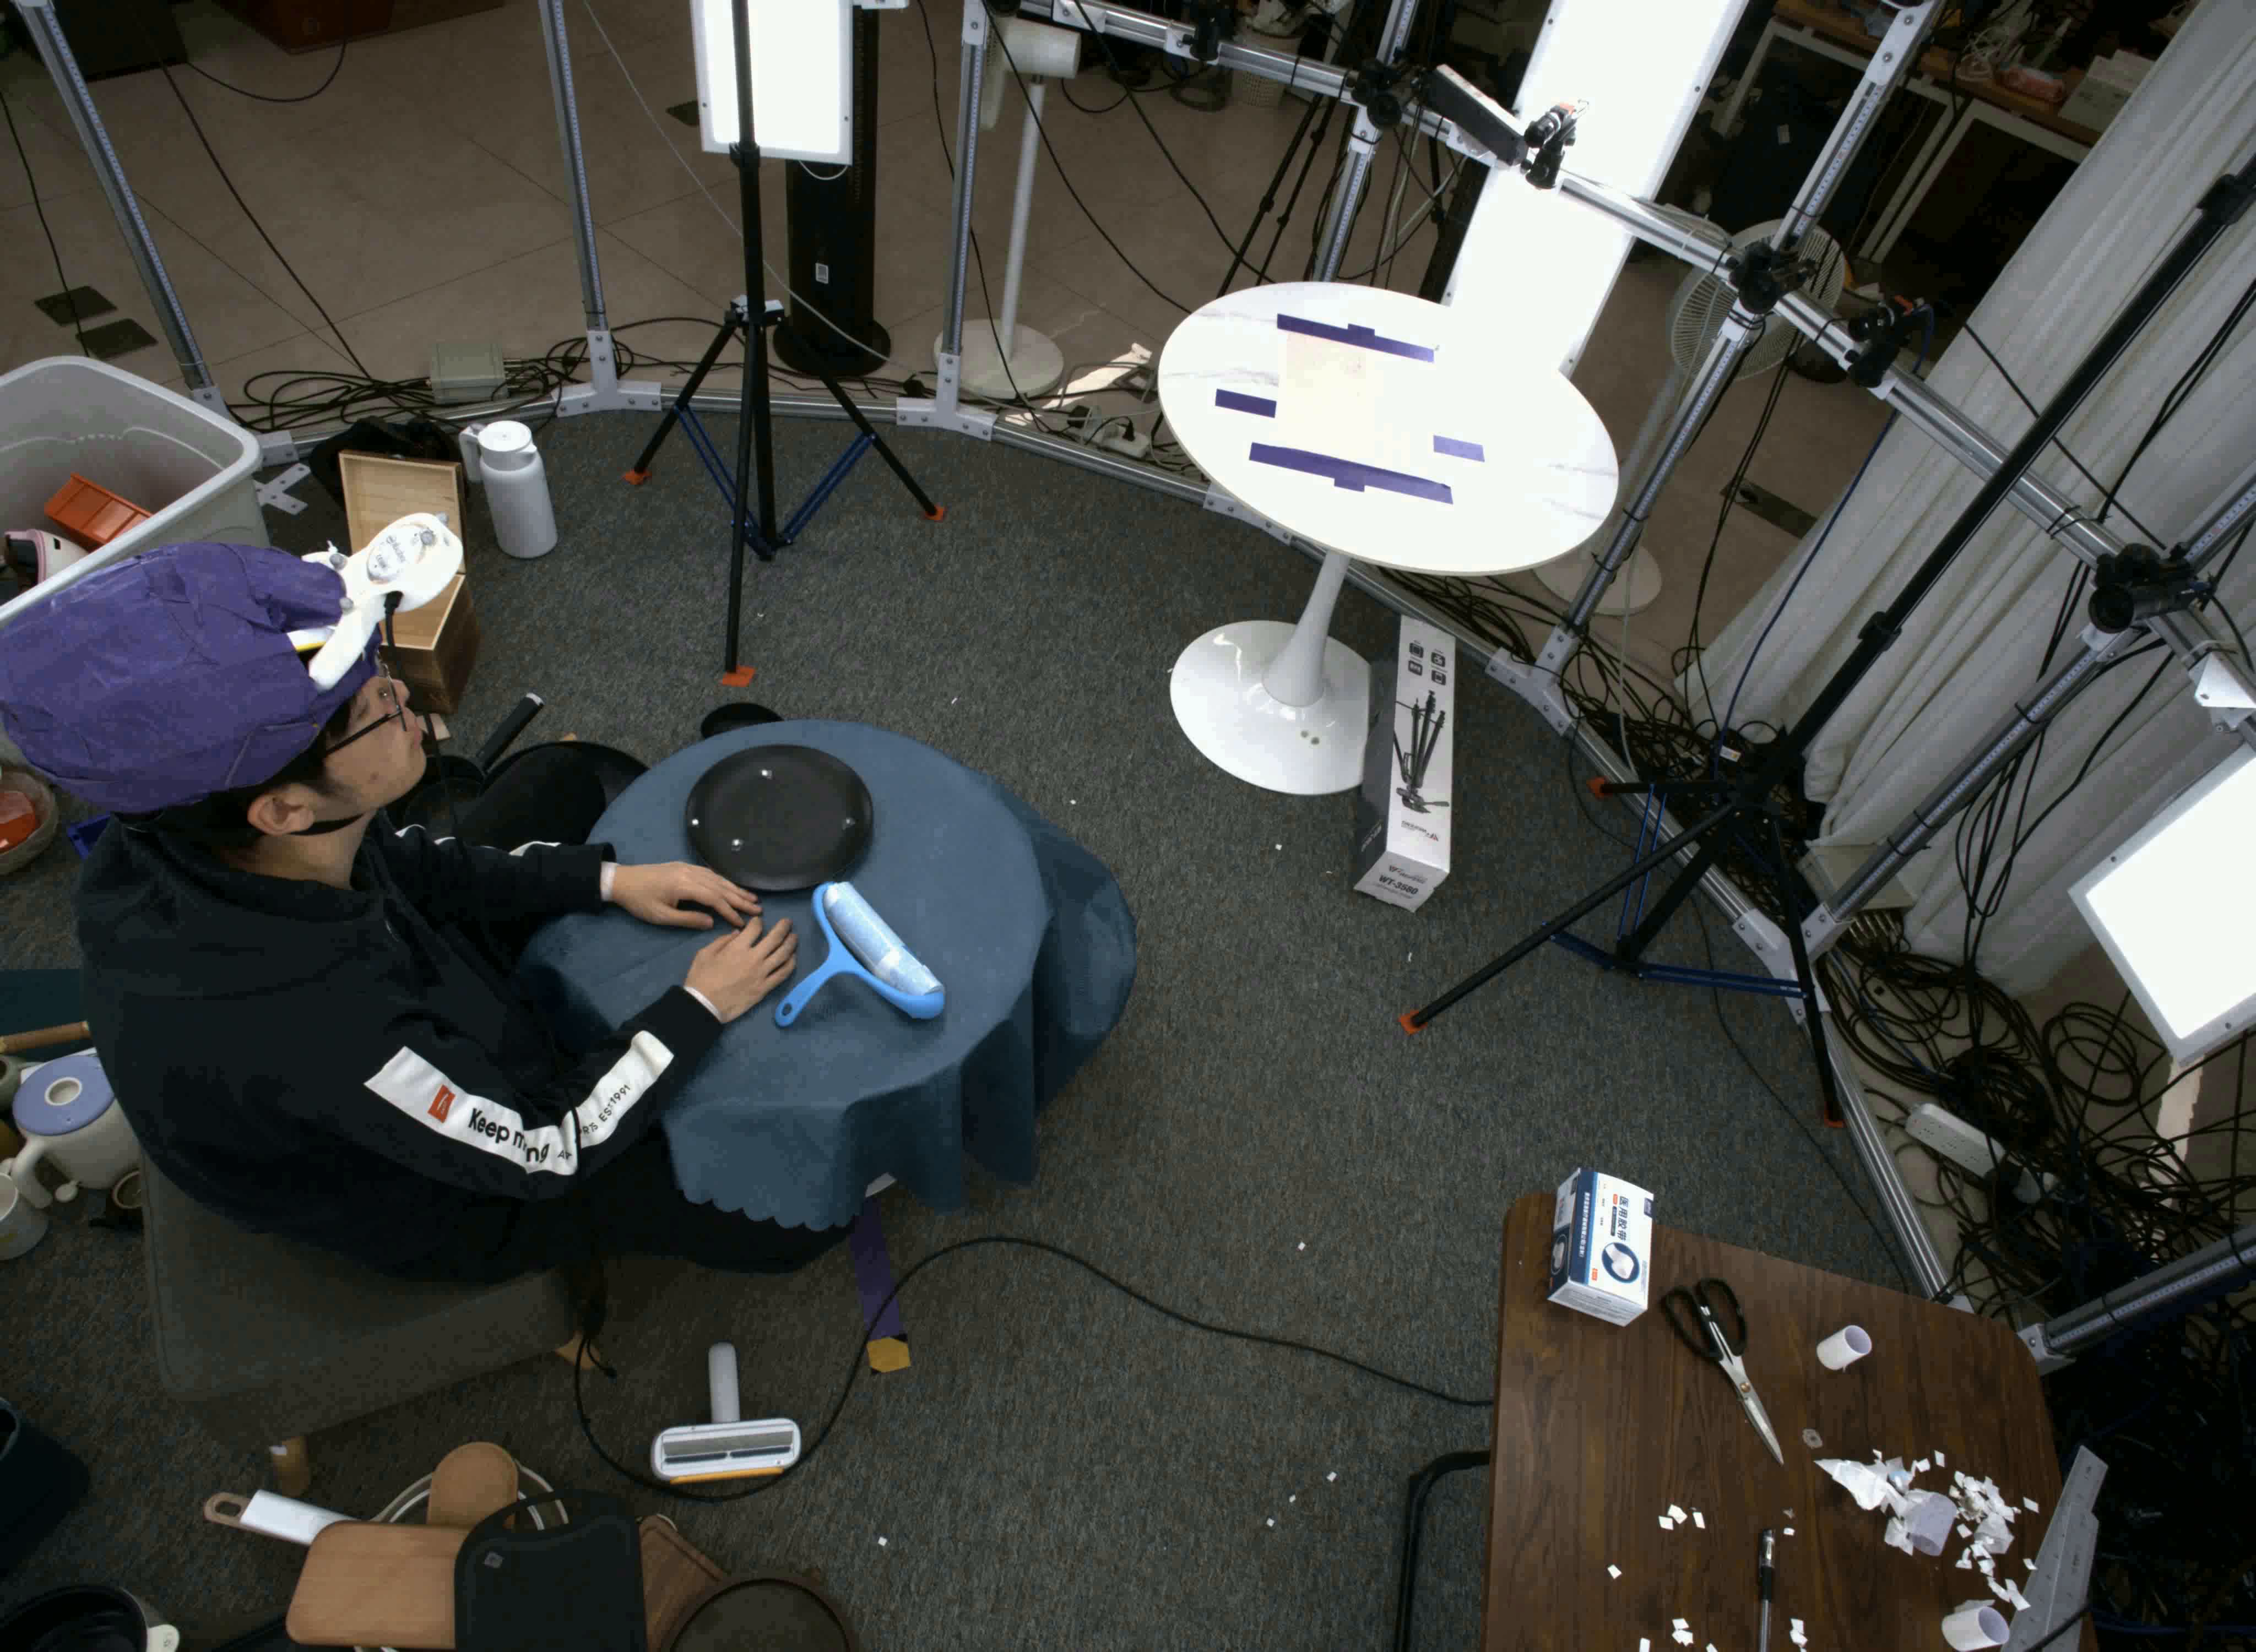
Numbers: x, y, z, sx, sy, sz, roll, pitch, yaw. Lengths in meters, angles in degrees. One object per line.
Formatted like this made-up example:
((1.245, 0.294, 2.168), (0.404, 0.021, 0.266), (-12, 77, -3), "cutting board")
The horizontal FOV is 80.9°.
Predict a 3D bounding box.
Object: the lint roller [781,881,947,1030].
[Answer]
((-0.346, 0.177, 1.583), (0.224, 0.069, 0.180), (41, 56, 16), "lint roller")

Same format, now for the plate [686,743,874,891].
((-0.460, -0.011, 1.714), (0.244, 0.024, 0.240), (8, 53, -9), "plate")
